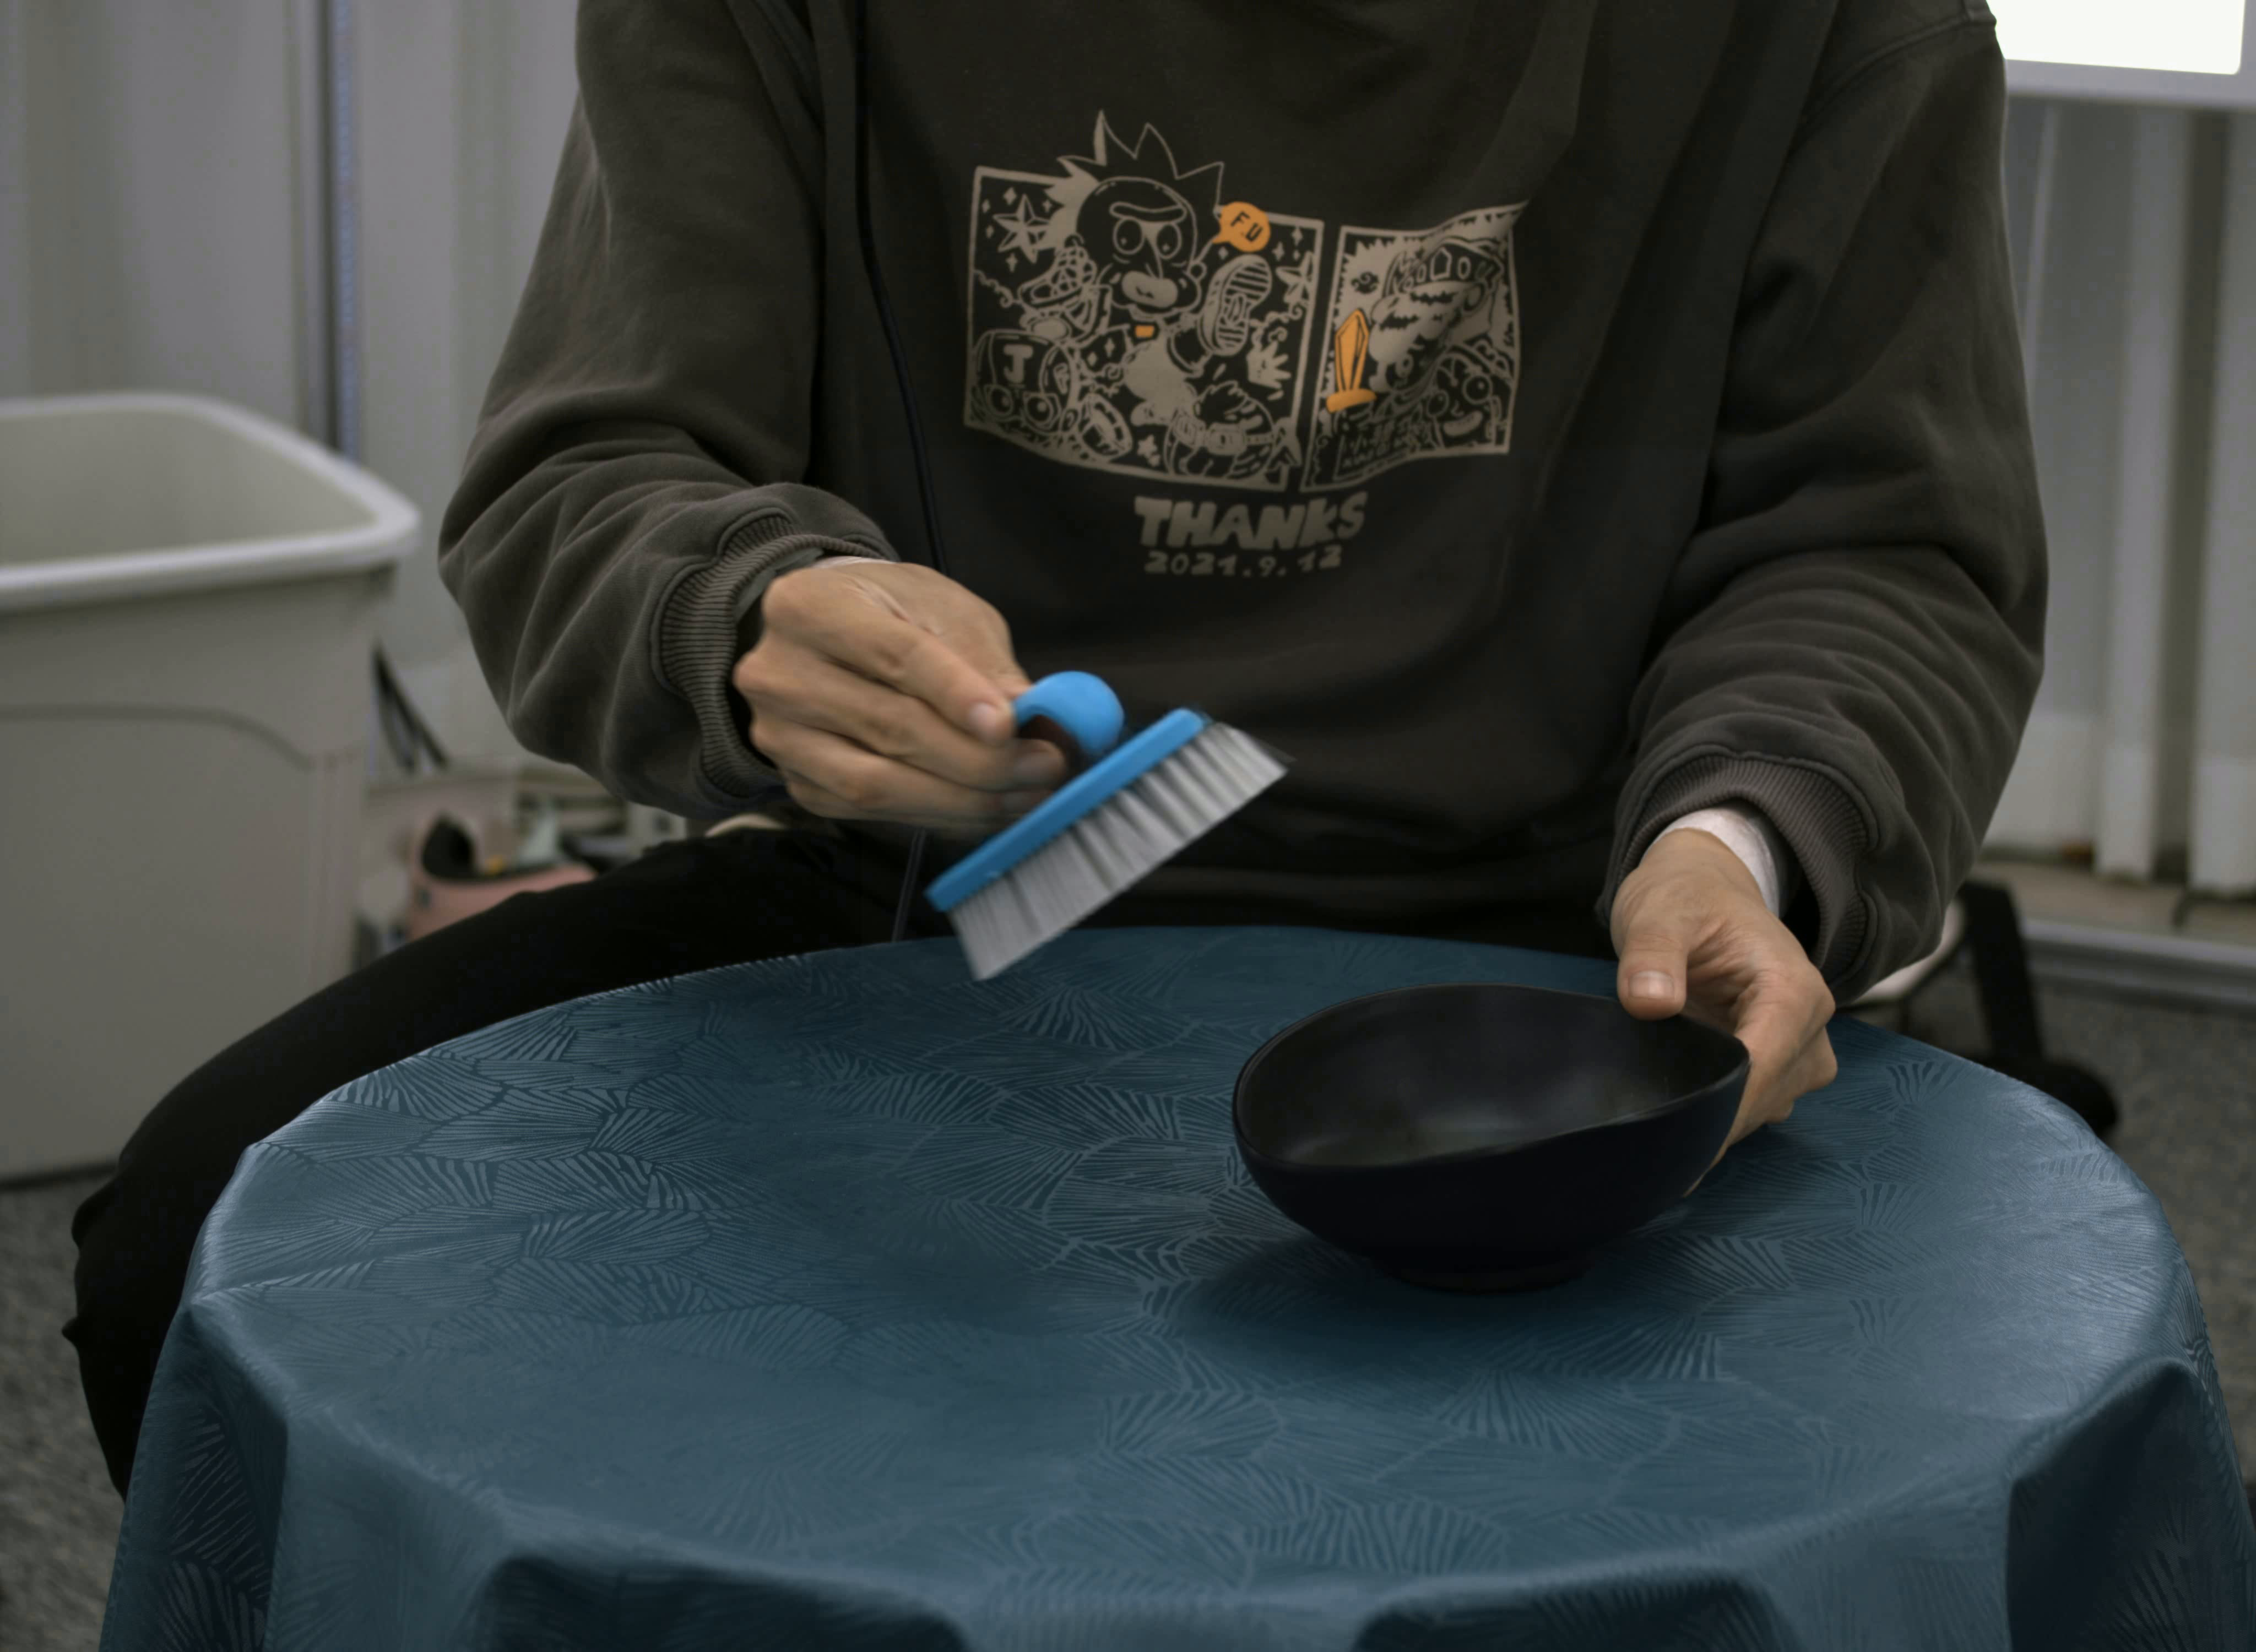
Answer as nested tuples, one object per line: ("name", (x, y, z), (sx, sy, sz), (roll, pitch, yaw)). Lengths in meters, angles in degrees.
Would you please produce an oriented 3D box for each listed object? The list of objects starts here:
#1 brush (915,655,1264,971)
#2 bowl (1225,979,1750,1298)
("brush", (-0.022, -0.012, 1.547), (0.084, 0.064, 0.141), (-38, 1, -28))
("bowl", (0.108, 0.099, 1.567), (0.171, 0.067, 0.135), (-15, 21, -39))
